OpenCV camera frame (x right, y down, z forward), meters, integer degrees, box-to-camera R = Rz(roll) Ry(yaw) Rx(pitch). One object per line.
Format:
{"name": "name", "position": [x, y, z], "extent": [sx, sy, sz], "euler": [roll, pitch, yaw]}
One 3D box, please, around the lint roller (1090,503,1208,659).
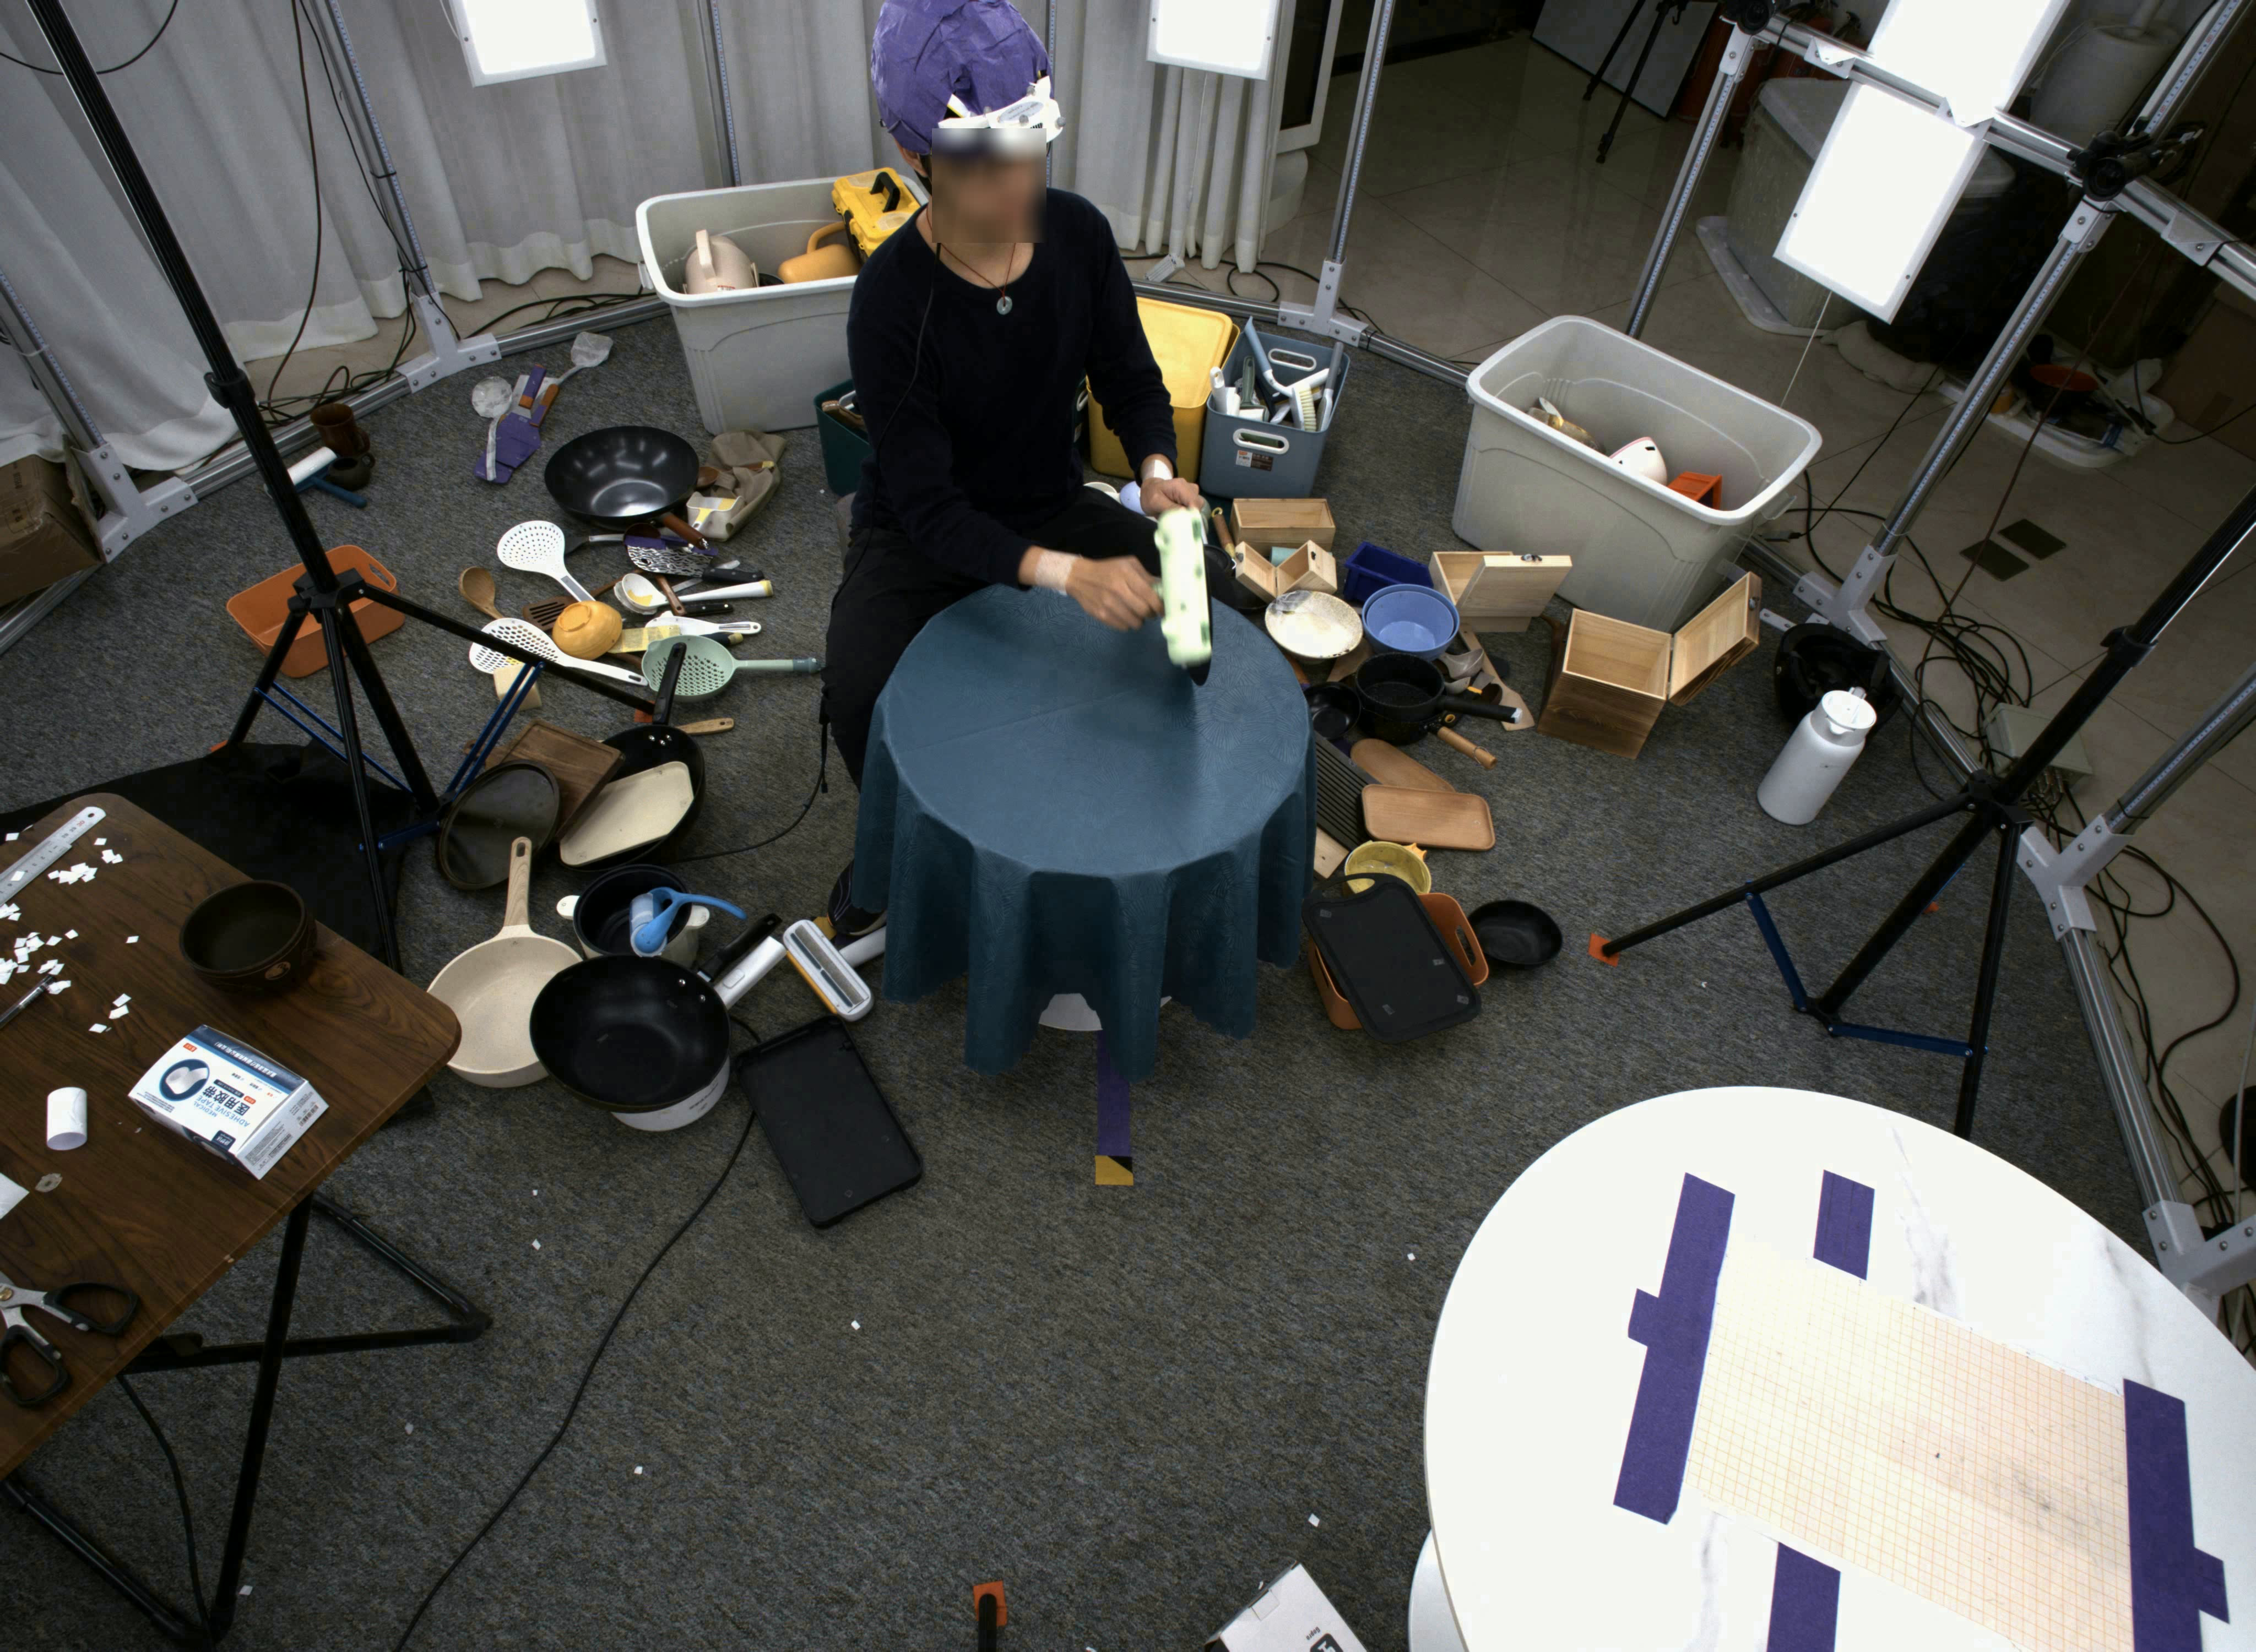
{"name": "lint roller", "position": [0.016, -0.313, 1.696], "extent": [0.183, 0.081, 0.200], "euler": [-8, 81, 27]}

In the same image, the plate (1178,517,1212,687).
{"name": "plate", "position": [0.082, -0.315, 1.791], "extent": [0.023, 0.238, 0.250], "euler": [-5, 50, -7]}
